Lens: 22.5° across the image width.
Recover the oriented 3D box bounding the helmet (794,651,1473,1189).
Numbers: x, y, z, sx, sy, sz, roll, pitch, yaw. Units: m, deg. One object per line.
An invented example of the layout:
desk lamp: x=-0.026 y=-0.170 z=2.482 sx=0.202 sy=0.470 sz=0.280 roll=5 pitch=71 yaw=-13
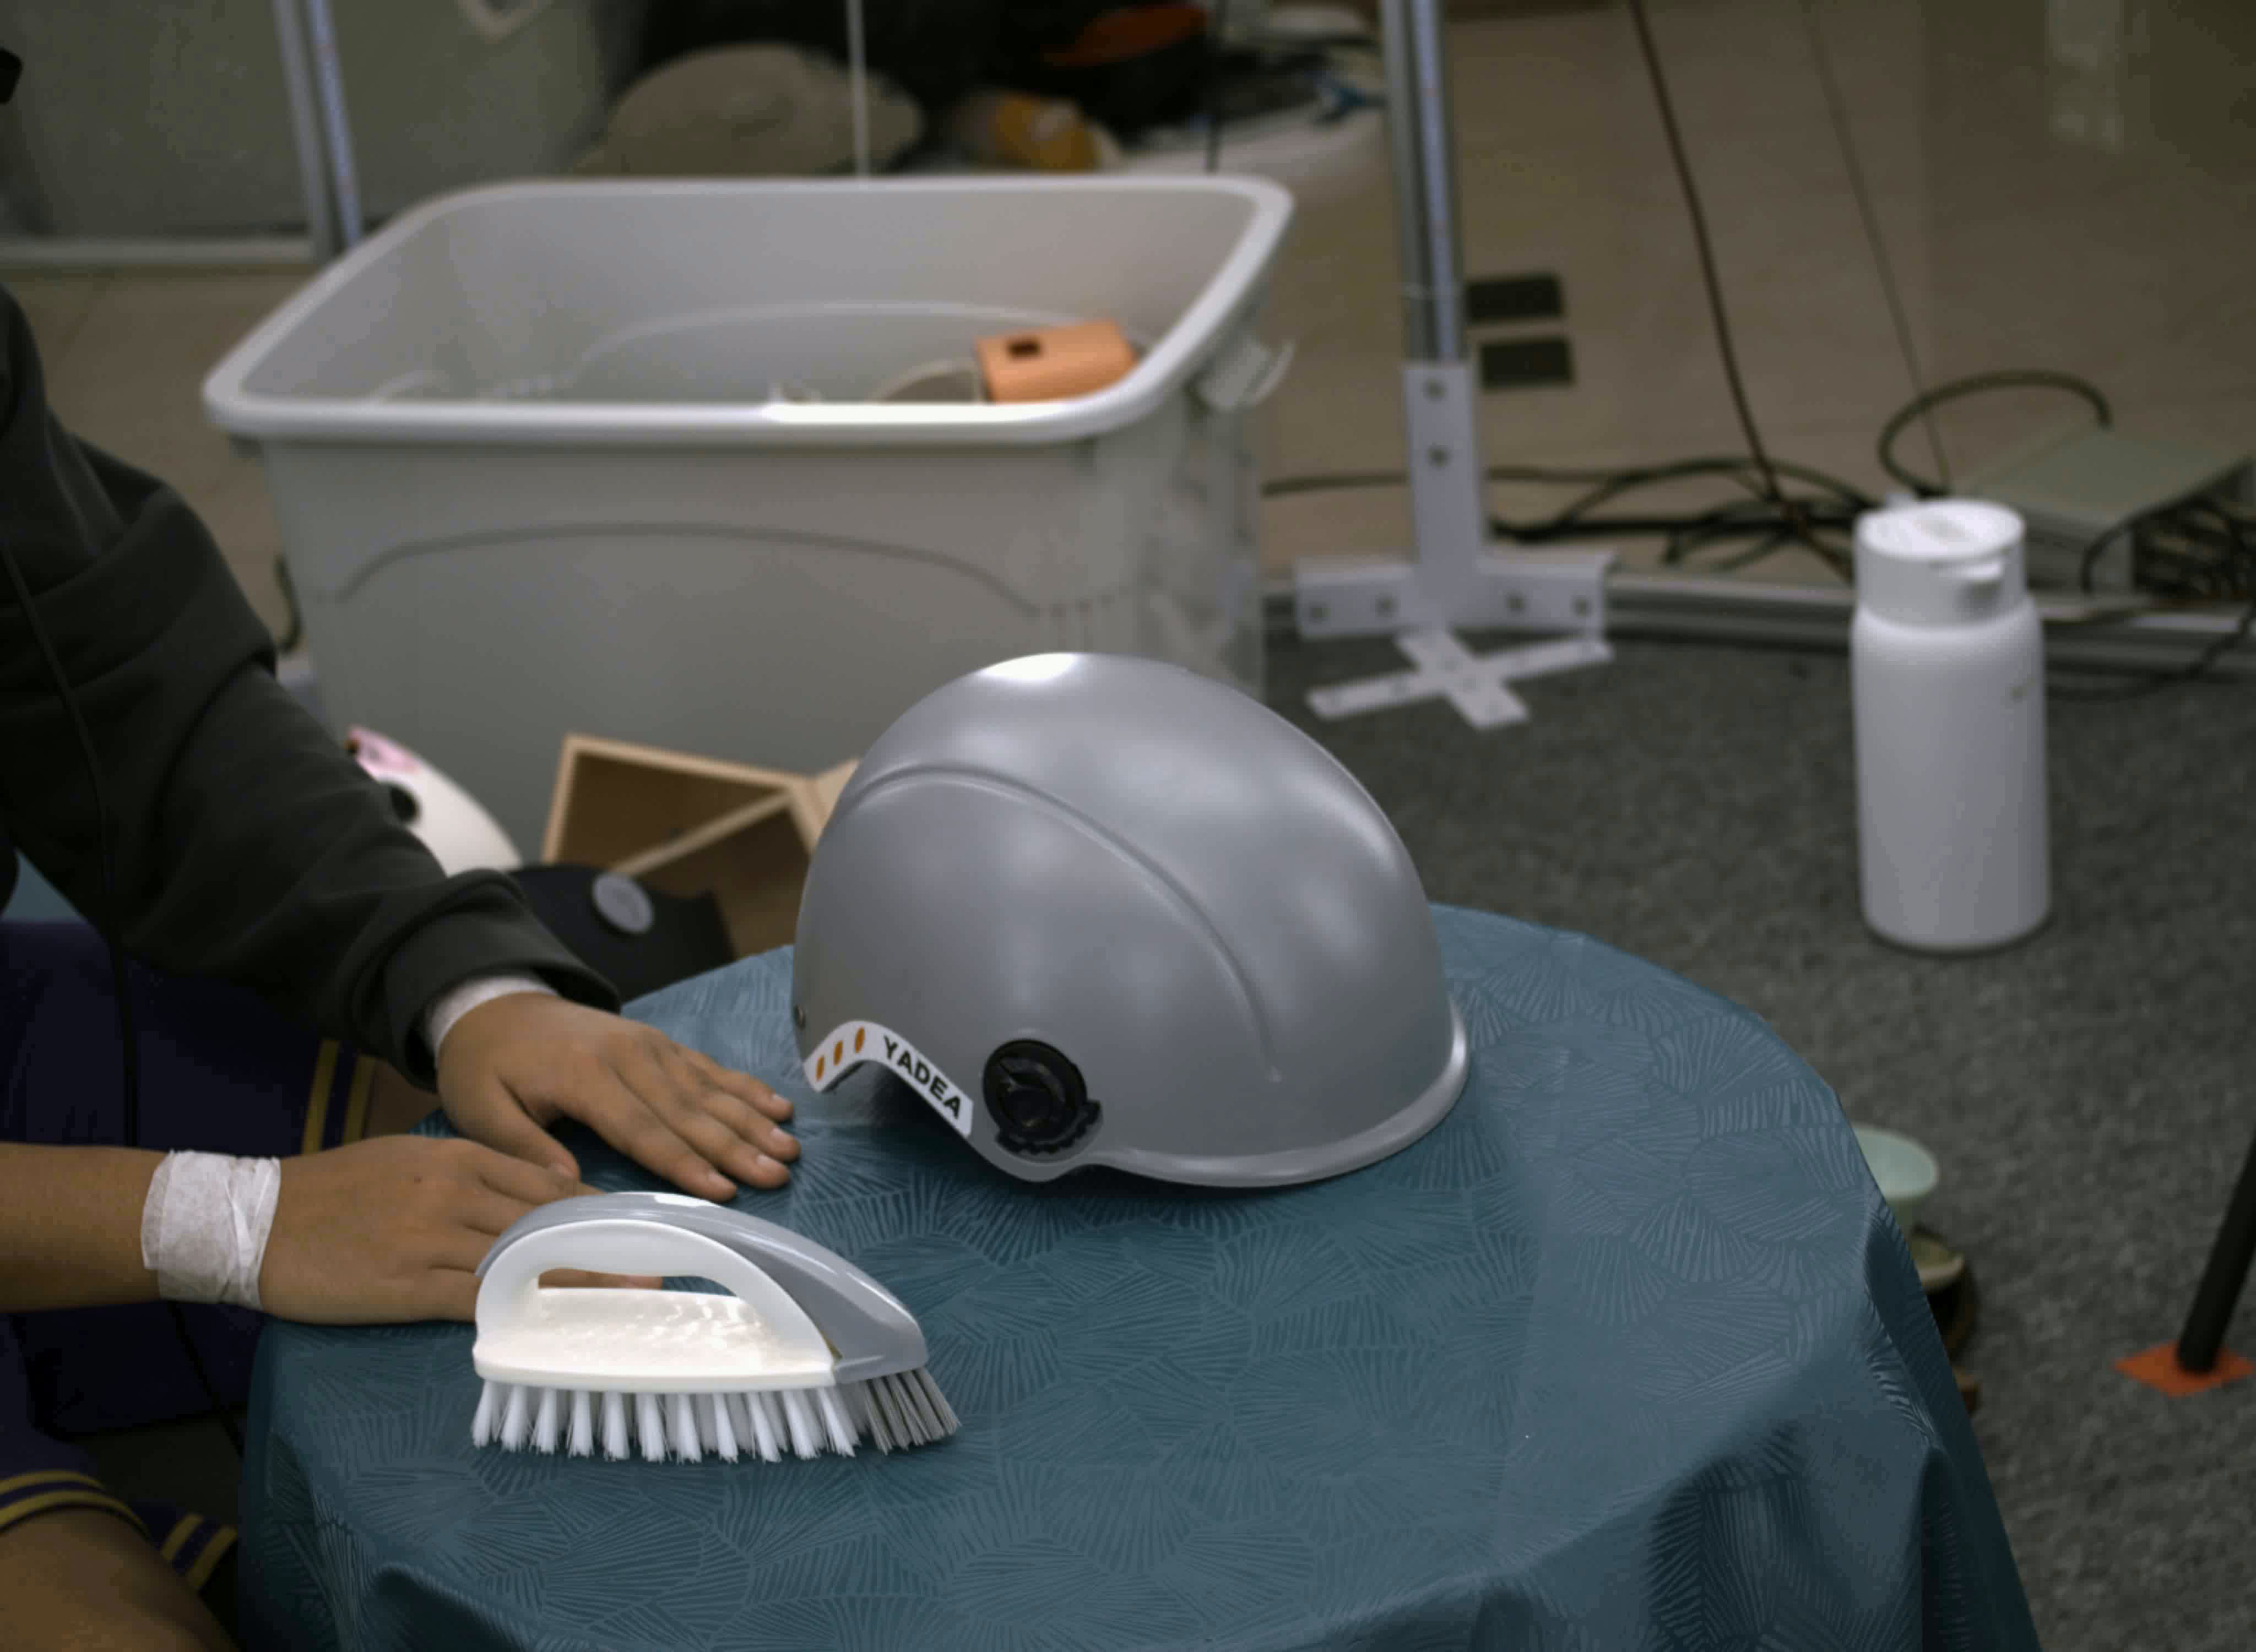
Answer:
helmet: x=-0.002 y=0.022 z=2.203 sx=0.274 sy=0.171 sz=0.229 roll=14 pitch=33 yaw=33

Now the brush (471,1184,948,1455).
brush: x=-0.150 y=0.171 z=2.005 sx=0.175 sy=0.096 sz=0.060 roll=5 pitch=29 yaw=16
